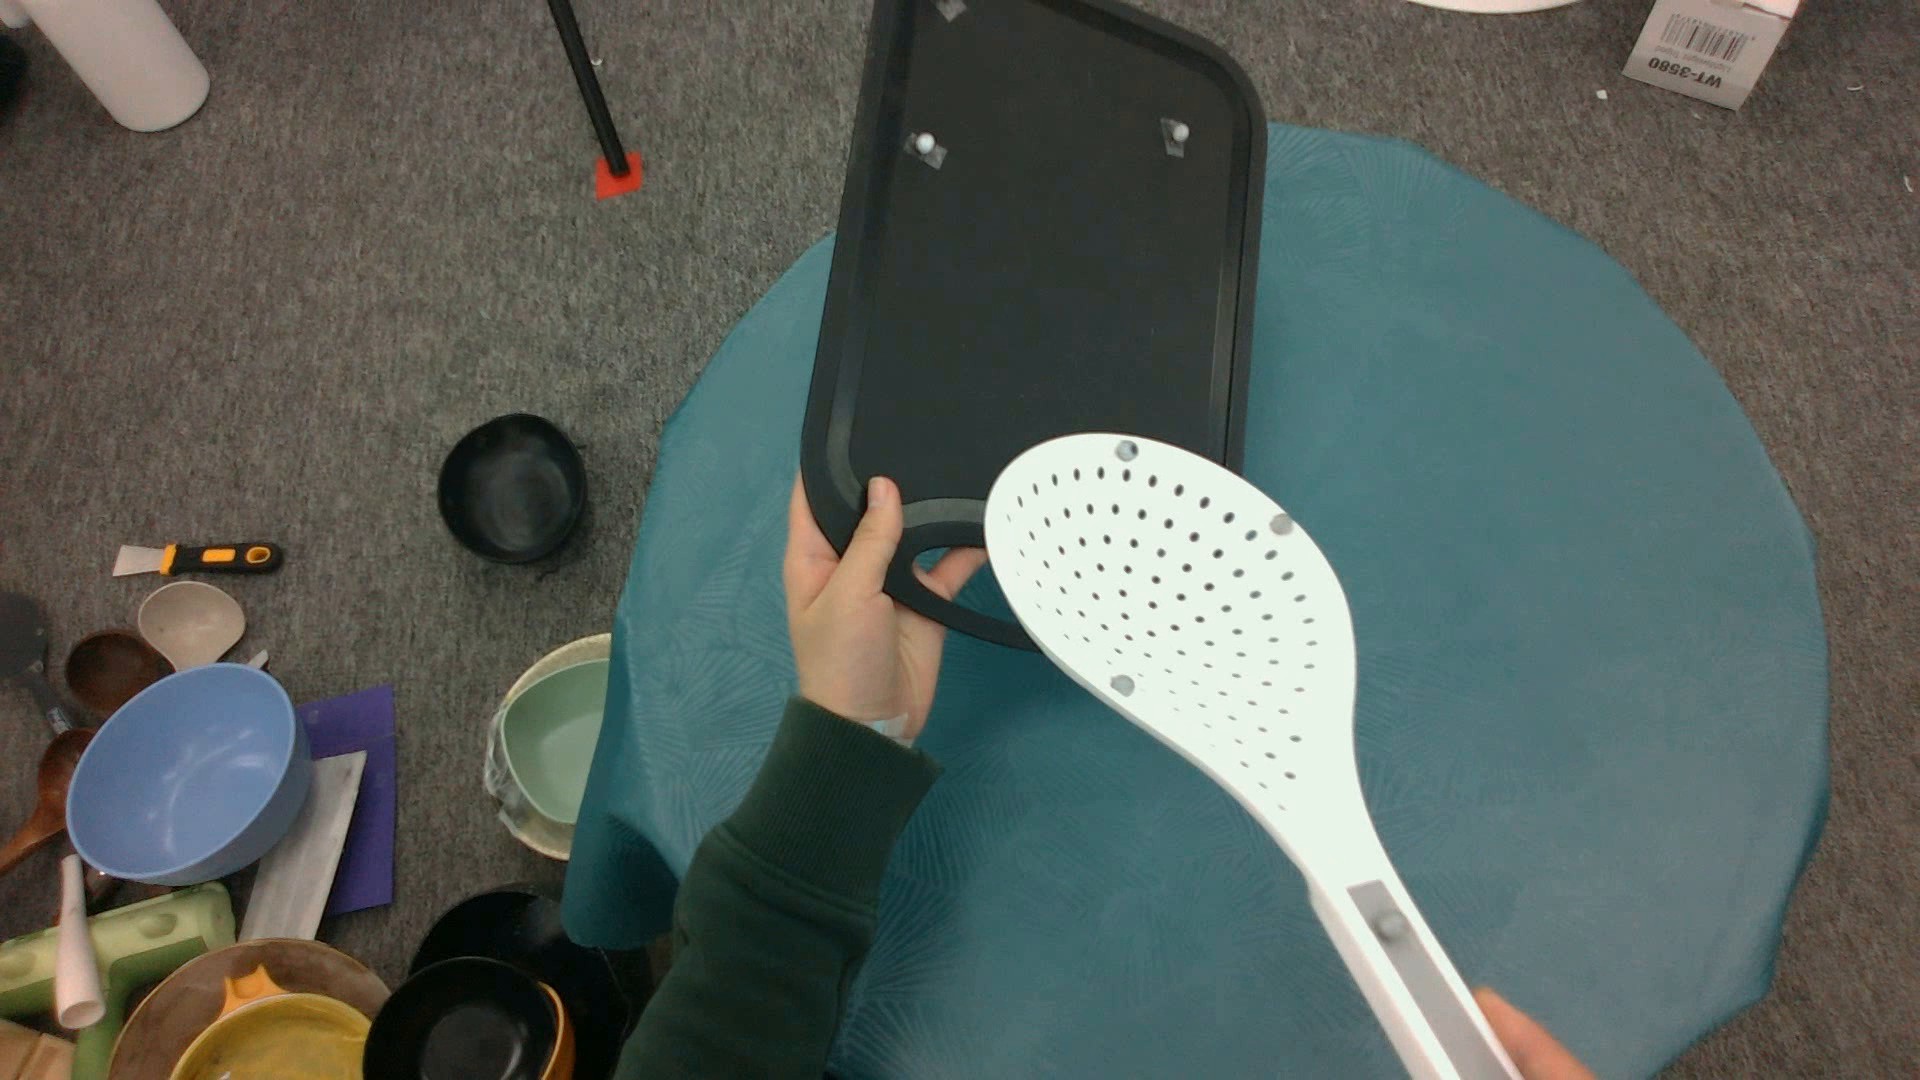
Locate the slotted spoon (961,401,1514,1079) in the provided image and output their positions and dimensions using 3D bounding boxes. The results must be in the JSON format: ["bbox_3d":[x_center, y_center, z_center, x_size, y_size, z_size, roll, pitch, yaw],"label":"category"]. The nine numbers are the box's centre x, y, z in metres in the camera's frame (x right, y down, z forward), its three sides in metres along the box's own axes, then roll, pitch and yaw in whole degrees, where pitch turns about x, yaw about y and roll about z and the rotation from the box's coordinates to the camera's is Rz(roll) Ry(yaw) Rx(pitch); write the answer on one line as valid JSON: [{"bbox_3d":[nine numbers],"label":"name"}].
[{"bbox_3d":[0.105,0.083,0.426,0.136,0.045,0.350,-6,46,-29],"label":"slotted spoon"}]

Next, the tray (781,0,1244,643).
[{"bbox_3d":[0.035,-0.115,0.622,0.211,0.010,0.326,14,71,-21],"label":"tray"}]
